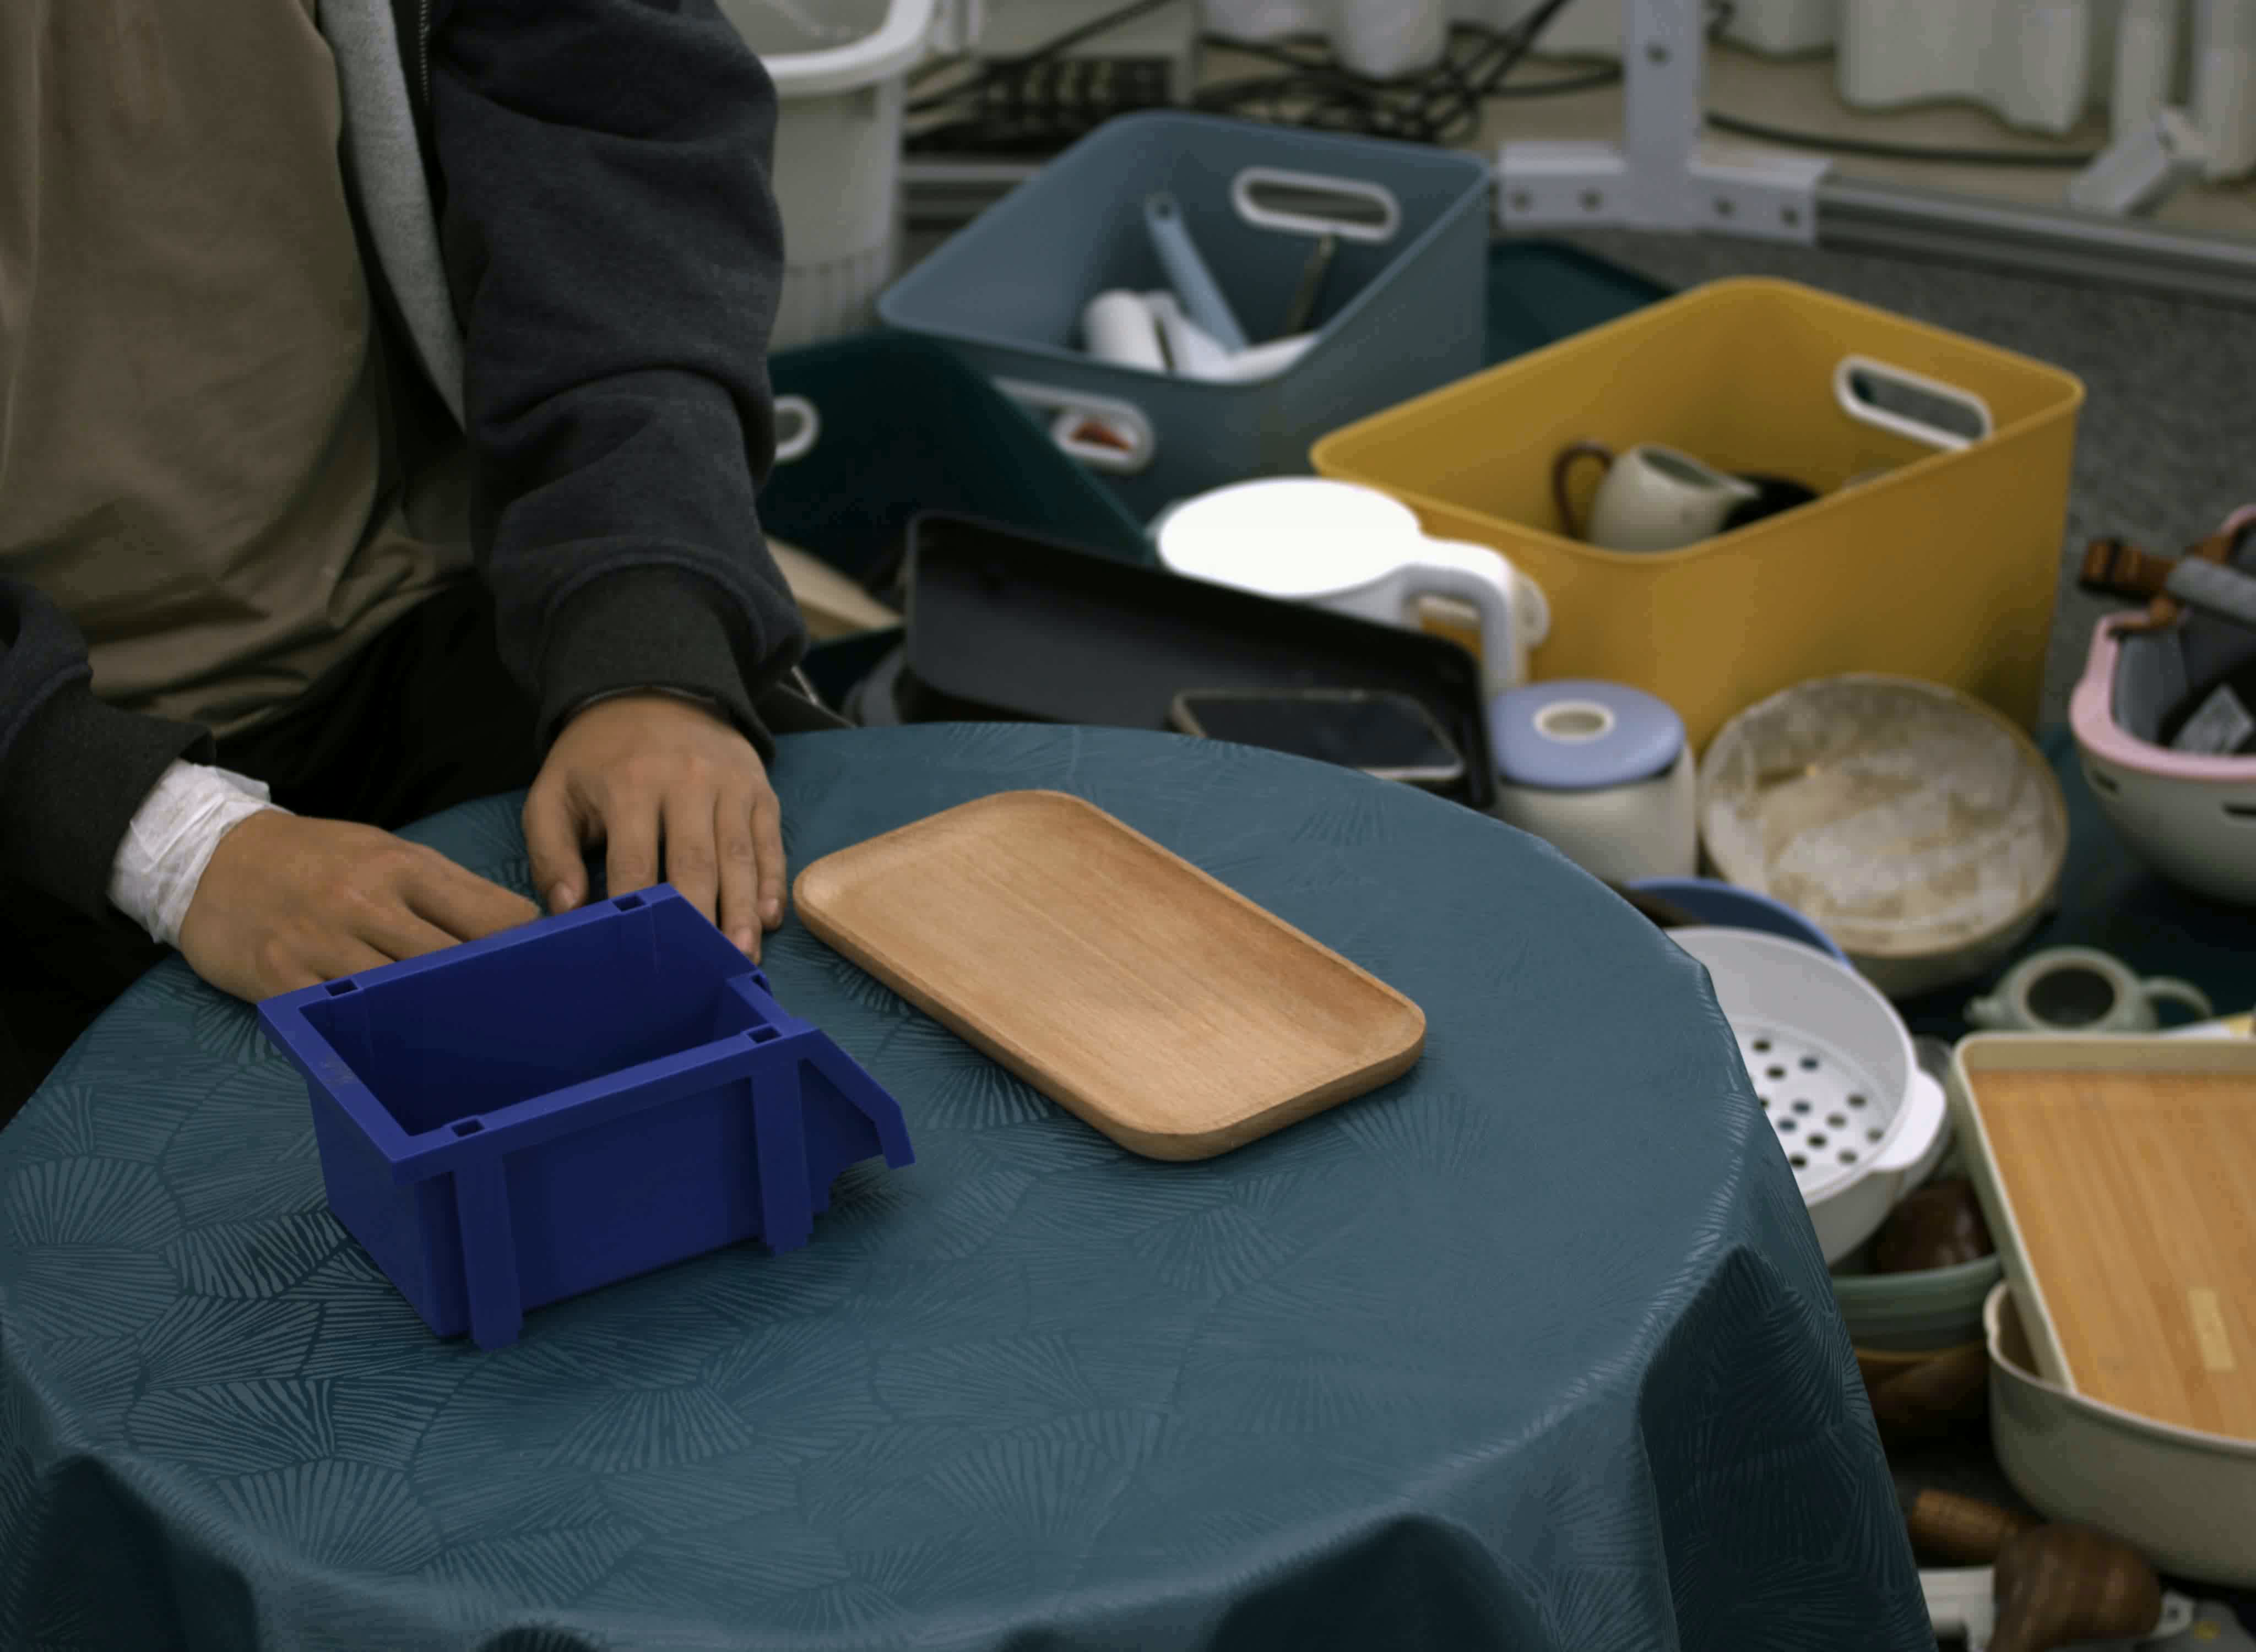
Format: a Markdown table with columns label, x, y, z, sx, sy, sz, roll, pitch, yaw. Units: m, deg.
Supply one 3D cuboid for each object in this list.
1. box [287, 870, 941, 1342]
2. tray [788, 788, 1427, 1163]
| label | x | y | z | sx | sy | sz | roll | pitch | yaw |
| --- | --- | --- | --- | --- | --- | --- | --- | --- | --- |
| box | -0.169 | 0.088 | 1.856 | 0.180 | 0.081 | 0.125 | -19 | 30 | -21 |
| tray | -0.010 | 0.050 | 1.982 | 0.131 | 0.022 | 0.251 | -18 | 30 | -31 |
